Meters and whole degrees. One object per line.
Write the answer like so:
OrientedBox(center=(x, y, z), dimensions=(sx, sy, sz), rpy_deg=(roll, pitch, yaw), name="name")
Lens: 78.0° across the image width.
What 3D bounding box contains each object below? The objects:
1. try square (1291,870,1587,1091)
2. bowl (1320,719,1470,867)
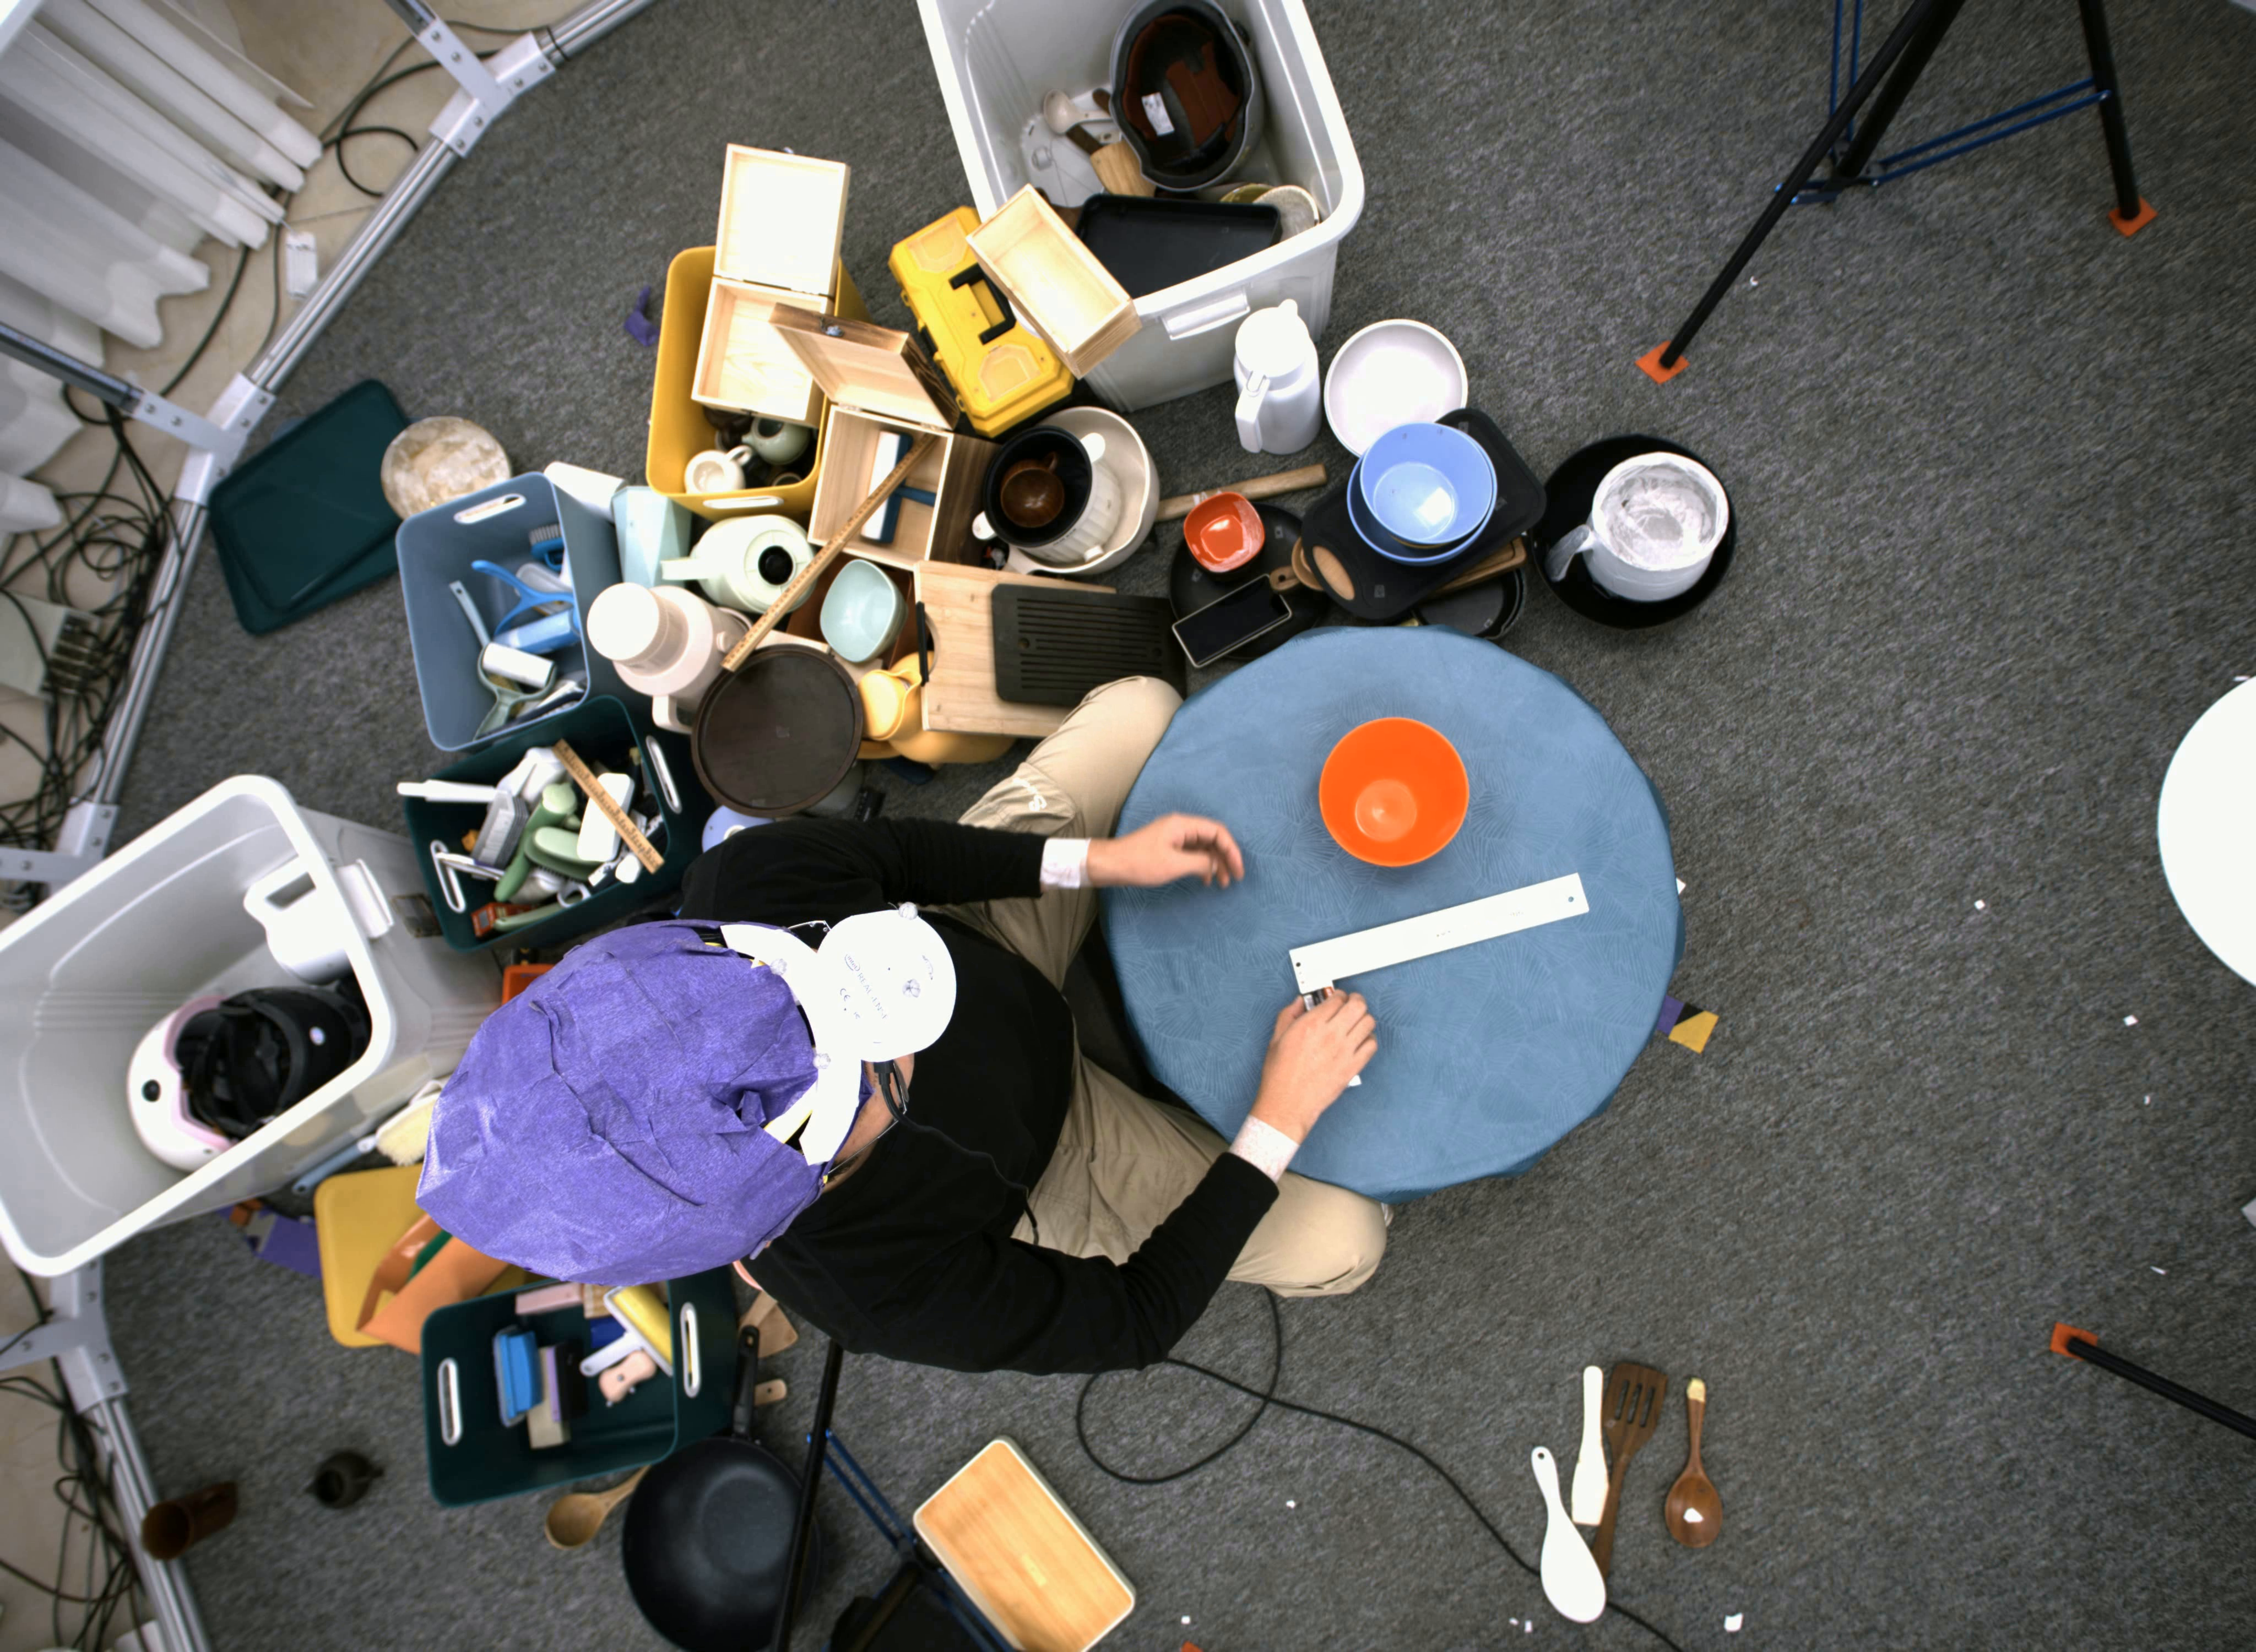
OrientedBox(center=(0.337, 0.160, 1.439), dimensions=(0.314, 0.016, 0.152), rpy_deg=(-17, 87, 7), name="try square")
OrientedBox(center=(0.272, -0.030, 1.415), dimensions=(0.148, 0.104, 0.147), rpy_deg=(-1, 87, 10), name="bowl")
